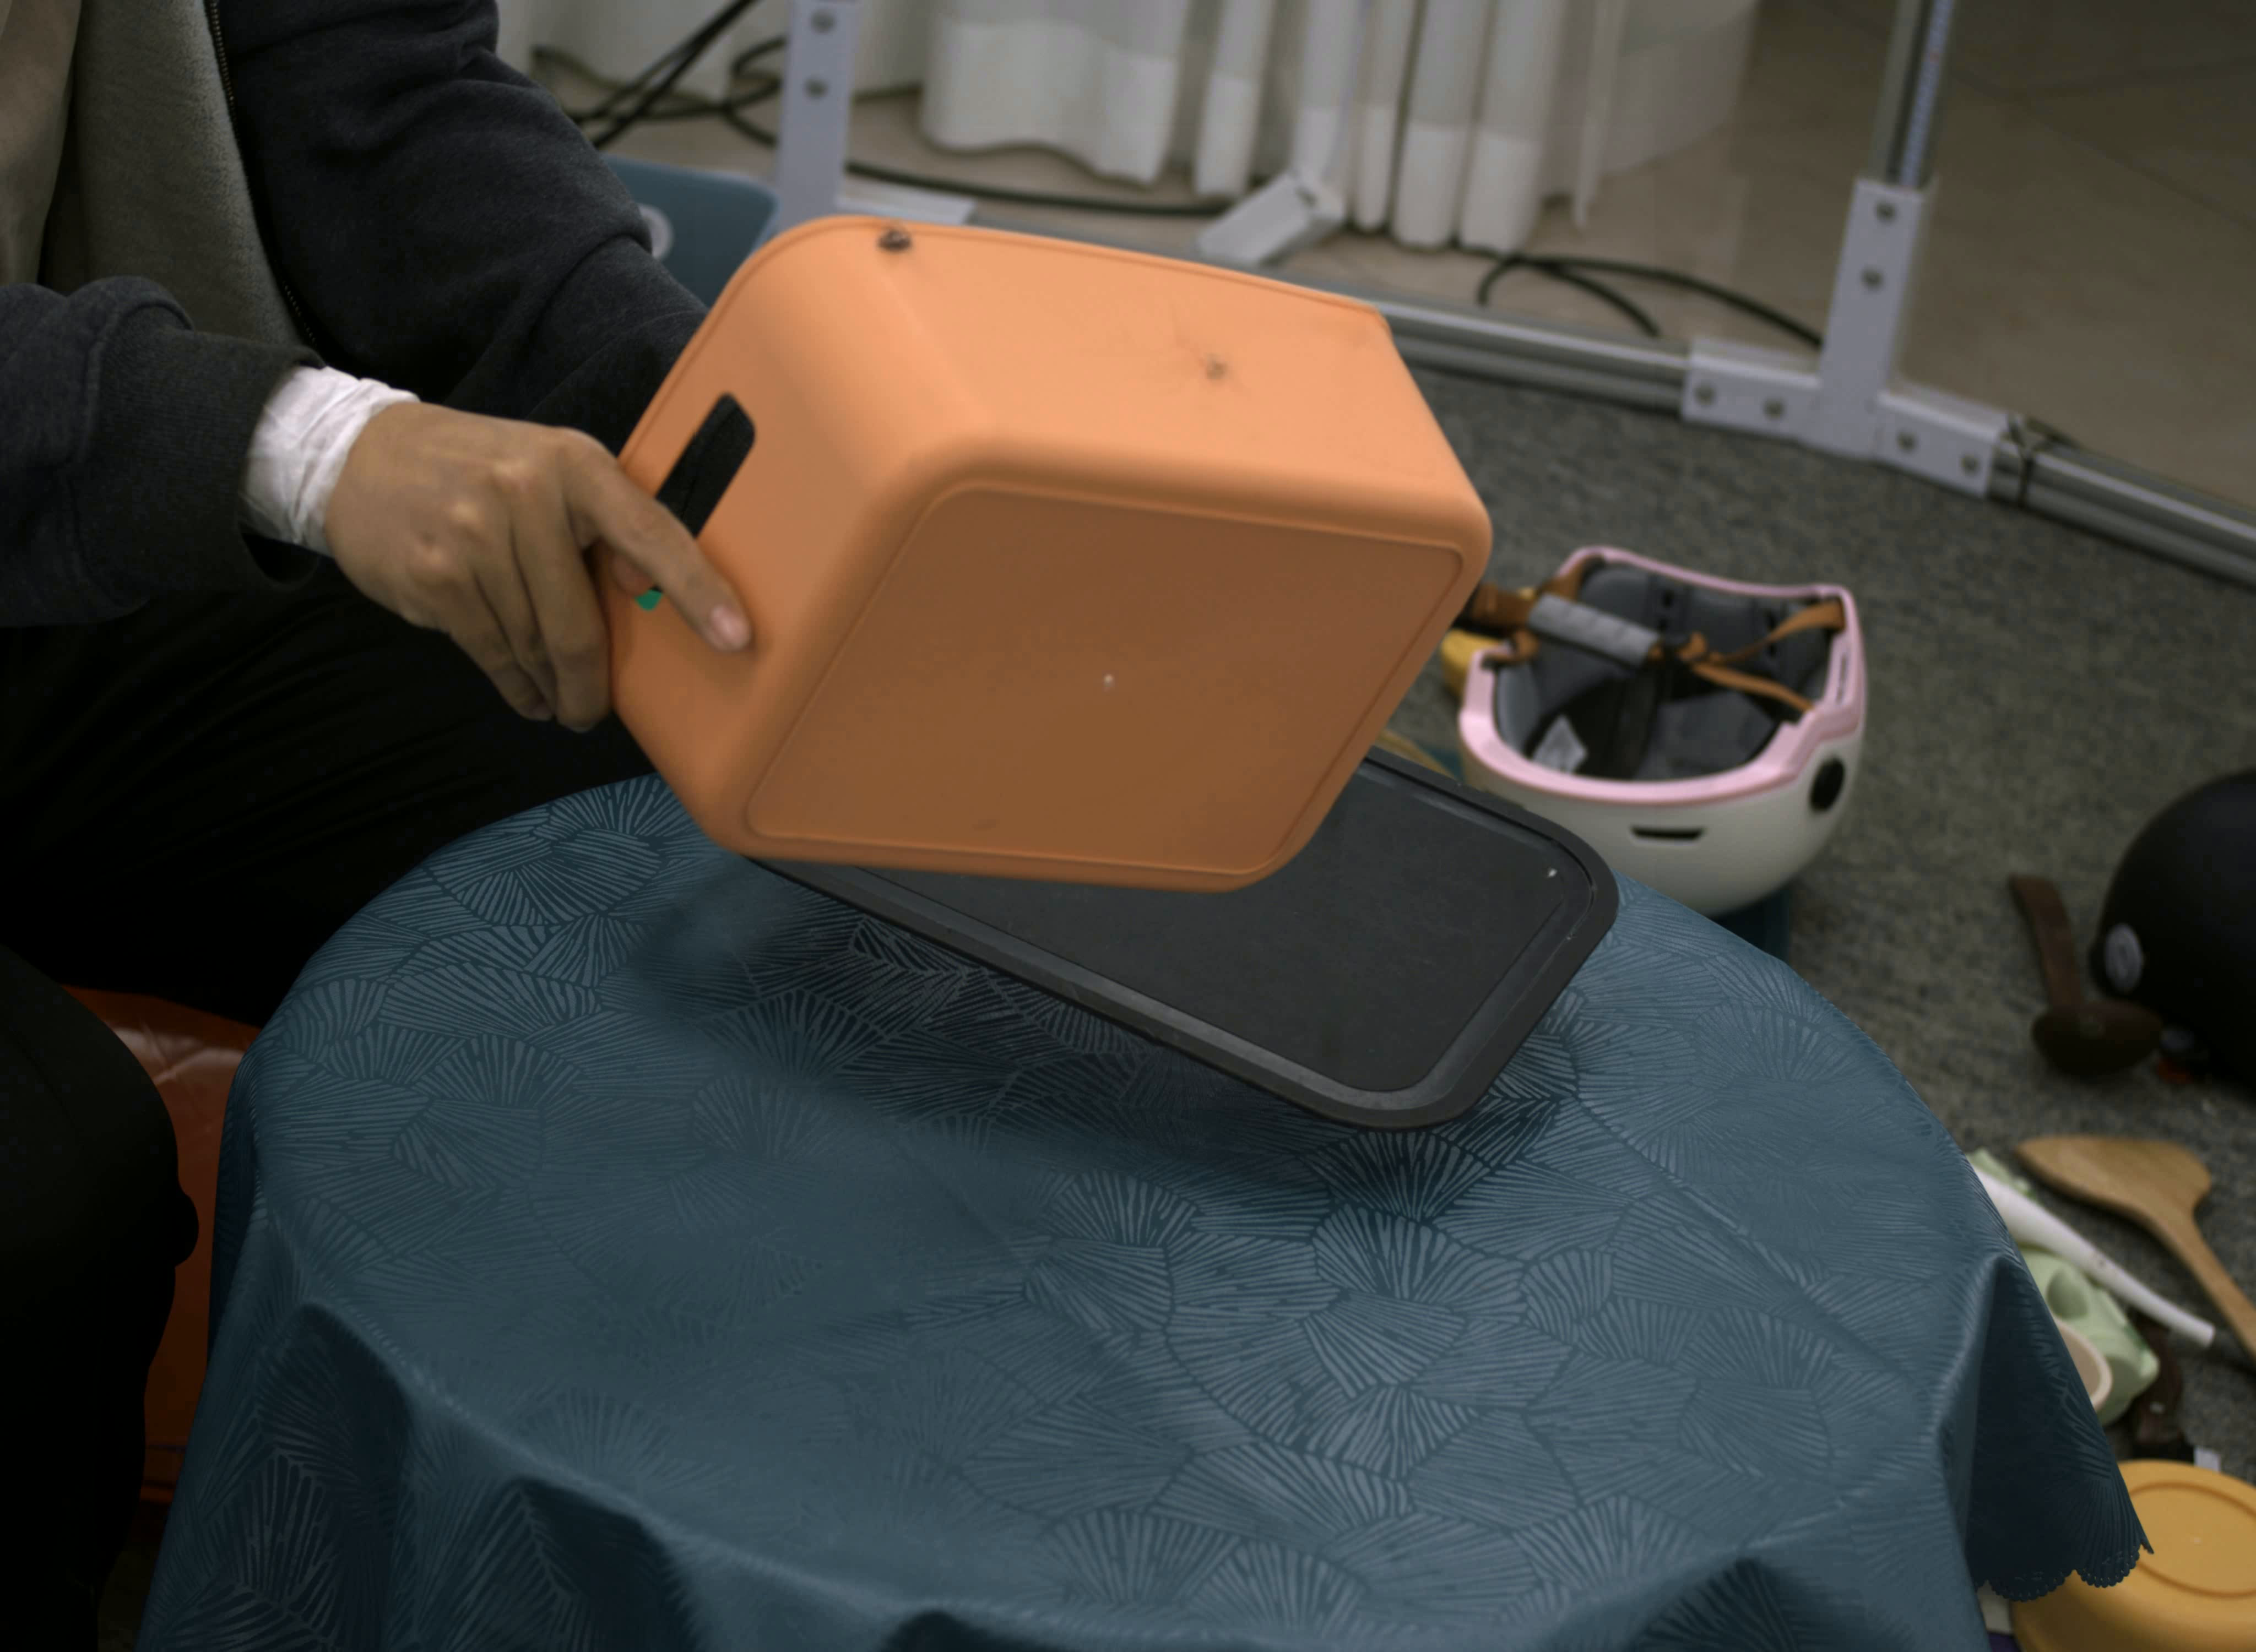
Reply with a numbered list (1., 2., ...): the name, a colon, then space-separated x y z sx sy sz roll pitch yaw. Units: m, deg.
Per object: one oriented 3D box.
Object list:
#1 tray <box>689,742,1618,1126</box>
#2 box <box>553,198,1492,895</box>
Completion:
1. tray: 0.004 0.003 1.909 0.326 0.010 0.211 23 37 16
2. box: -0.027 -0.078 1.687 0.271 0.199 0.103 7 37 -39
